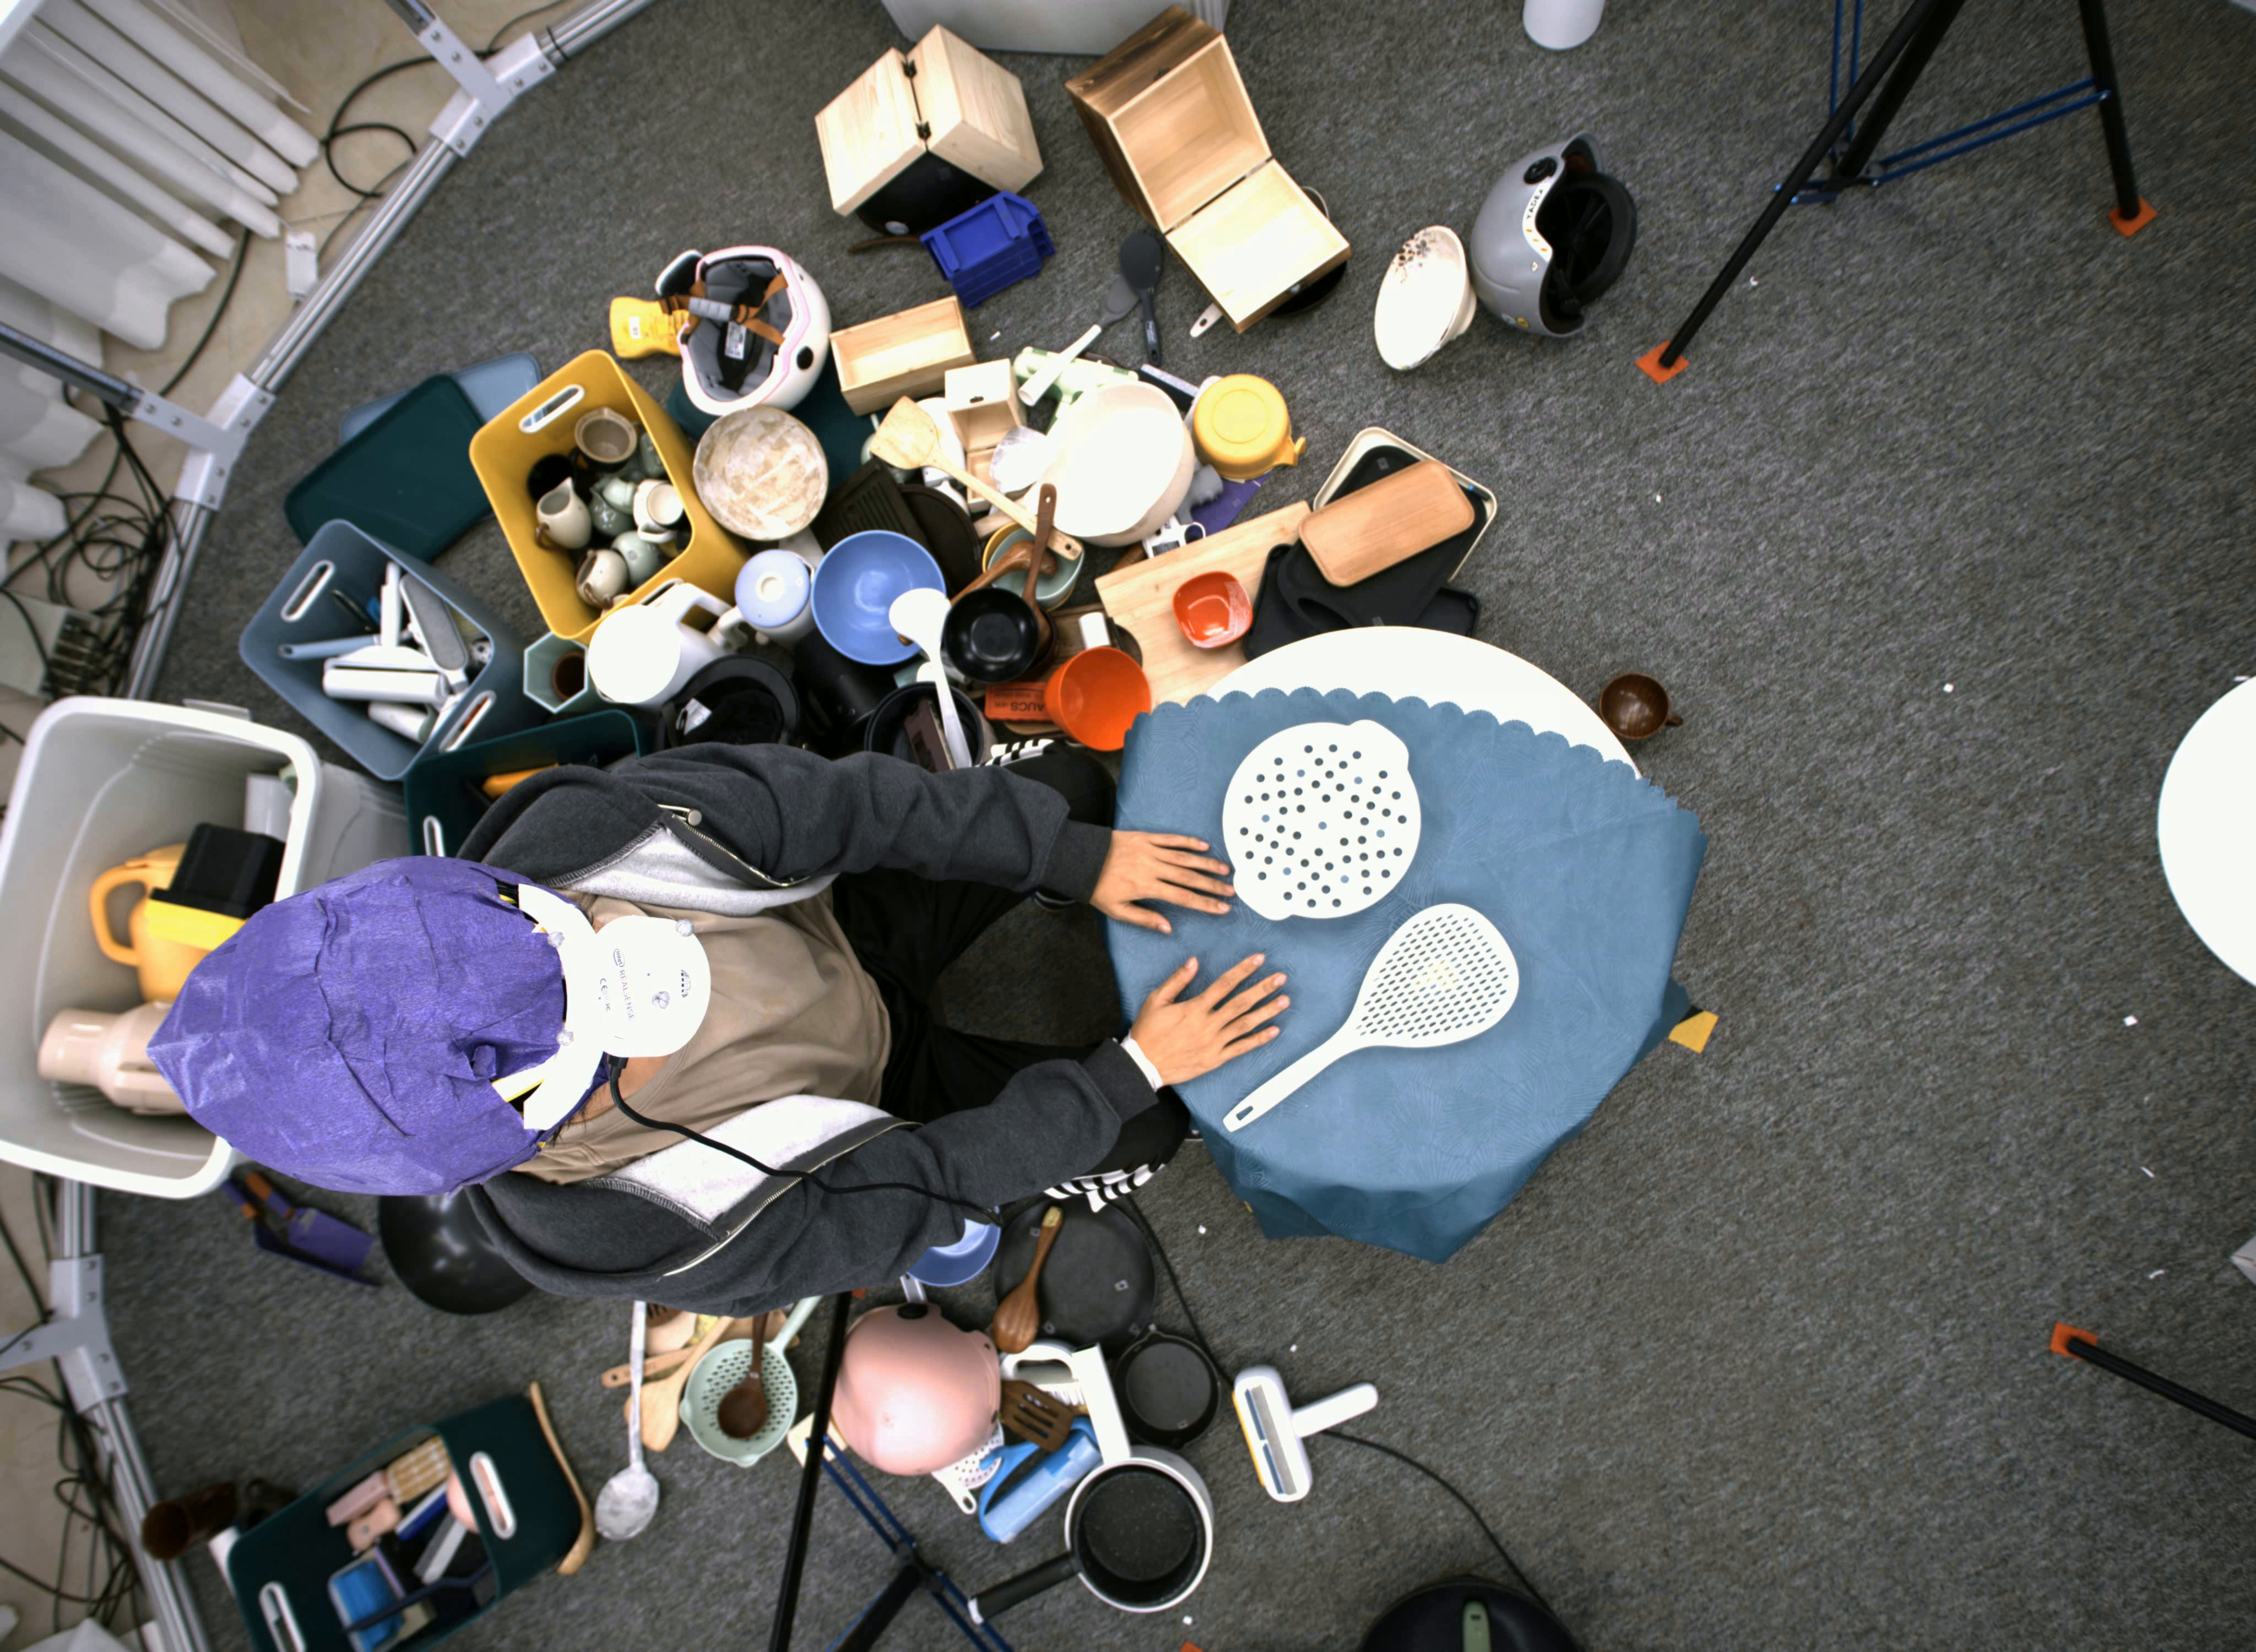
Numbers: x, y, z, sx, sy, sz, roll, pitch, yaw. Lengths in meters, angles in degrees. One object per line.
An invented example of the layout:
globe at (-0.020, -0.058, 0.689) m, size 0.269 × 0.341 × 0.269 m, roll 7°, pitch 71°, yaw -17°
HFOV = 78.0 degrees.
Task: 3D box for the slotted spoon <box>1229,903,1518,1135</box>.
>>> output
slotted spoon at (0.241, 0.213, 1.437) m, size 0.350 × 0.050 × 0.136 m, roll -36°, pitch 84°, yaw 7°

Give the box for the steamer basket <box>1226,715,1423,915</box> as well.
steamer basket at (0.205, -0.009, 1.442) m, size 0.201 × 0.069 × 0.231 m, roll 38°, pitch 92°, yaw 11°
